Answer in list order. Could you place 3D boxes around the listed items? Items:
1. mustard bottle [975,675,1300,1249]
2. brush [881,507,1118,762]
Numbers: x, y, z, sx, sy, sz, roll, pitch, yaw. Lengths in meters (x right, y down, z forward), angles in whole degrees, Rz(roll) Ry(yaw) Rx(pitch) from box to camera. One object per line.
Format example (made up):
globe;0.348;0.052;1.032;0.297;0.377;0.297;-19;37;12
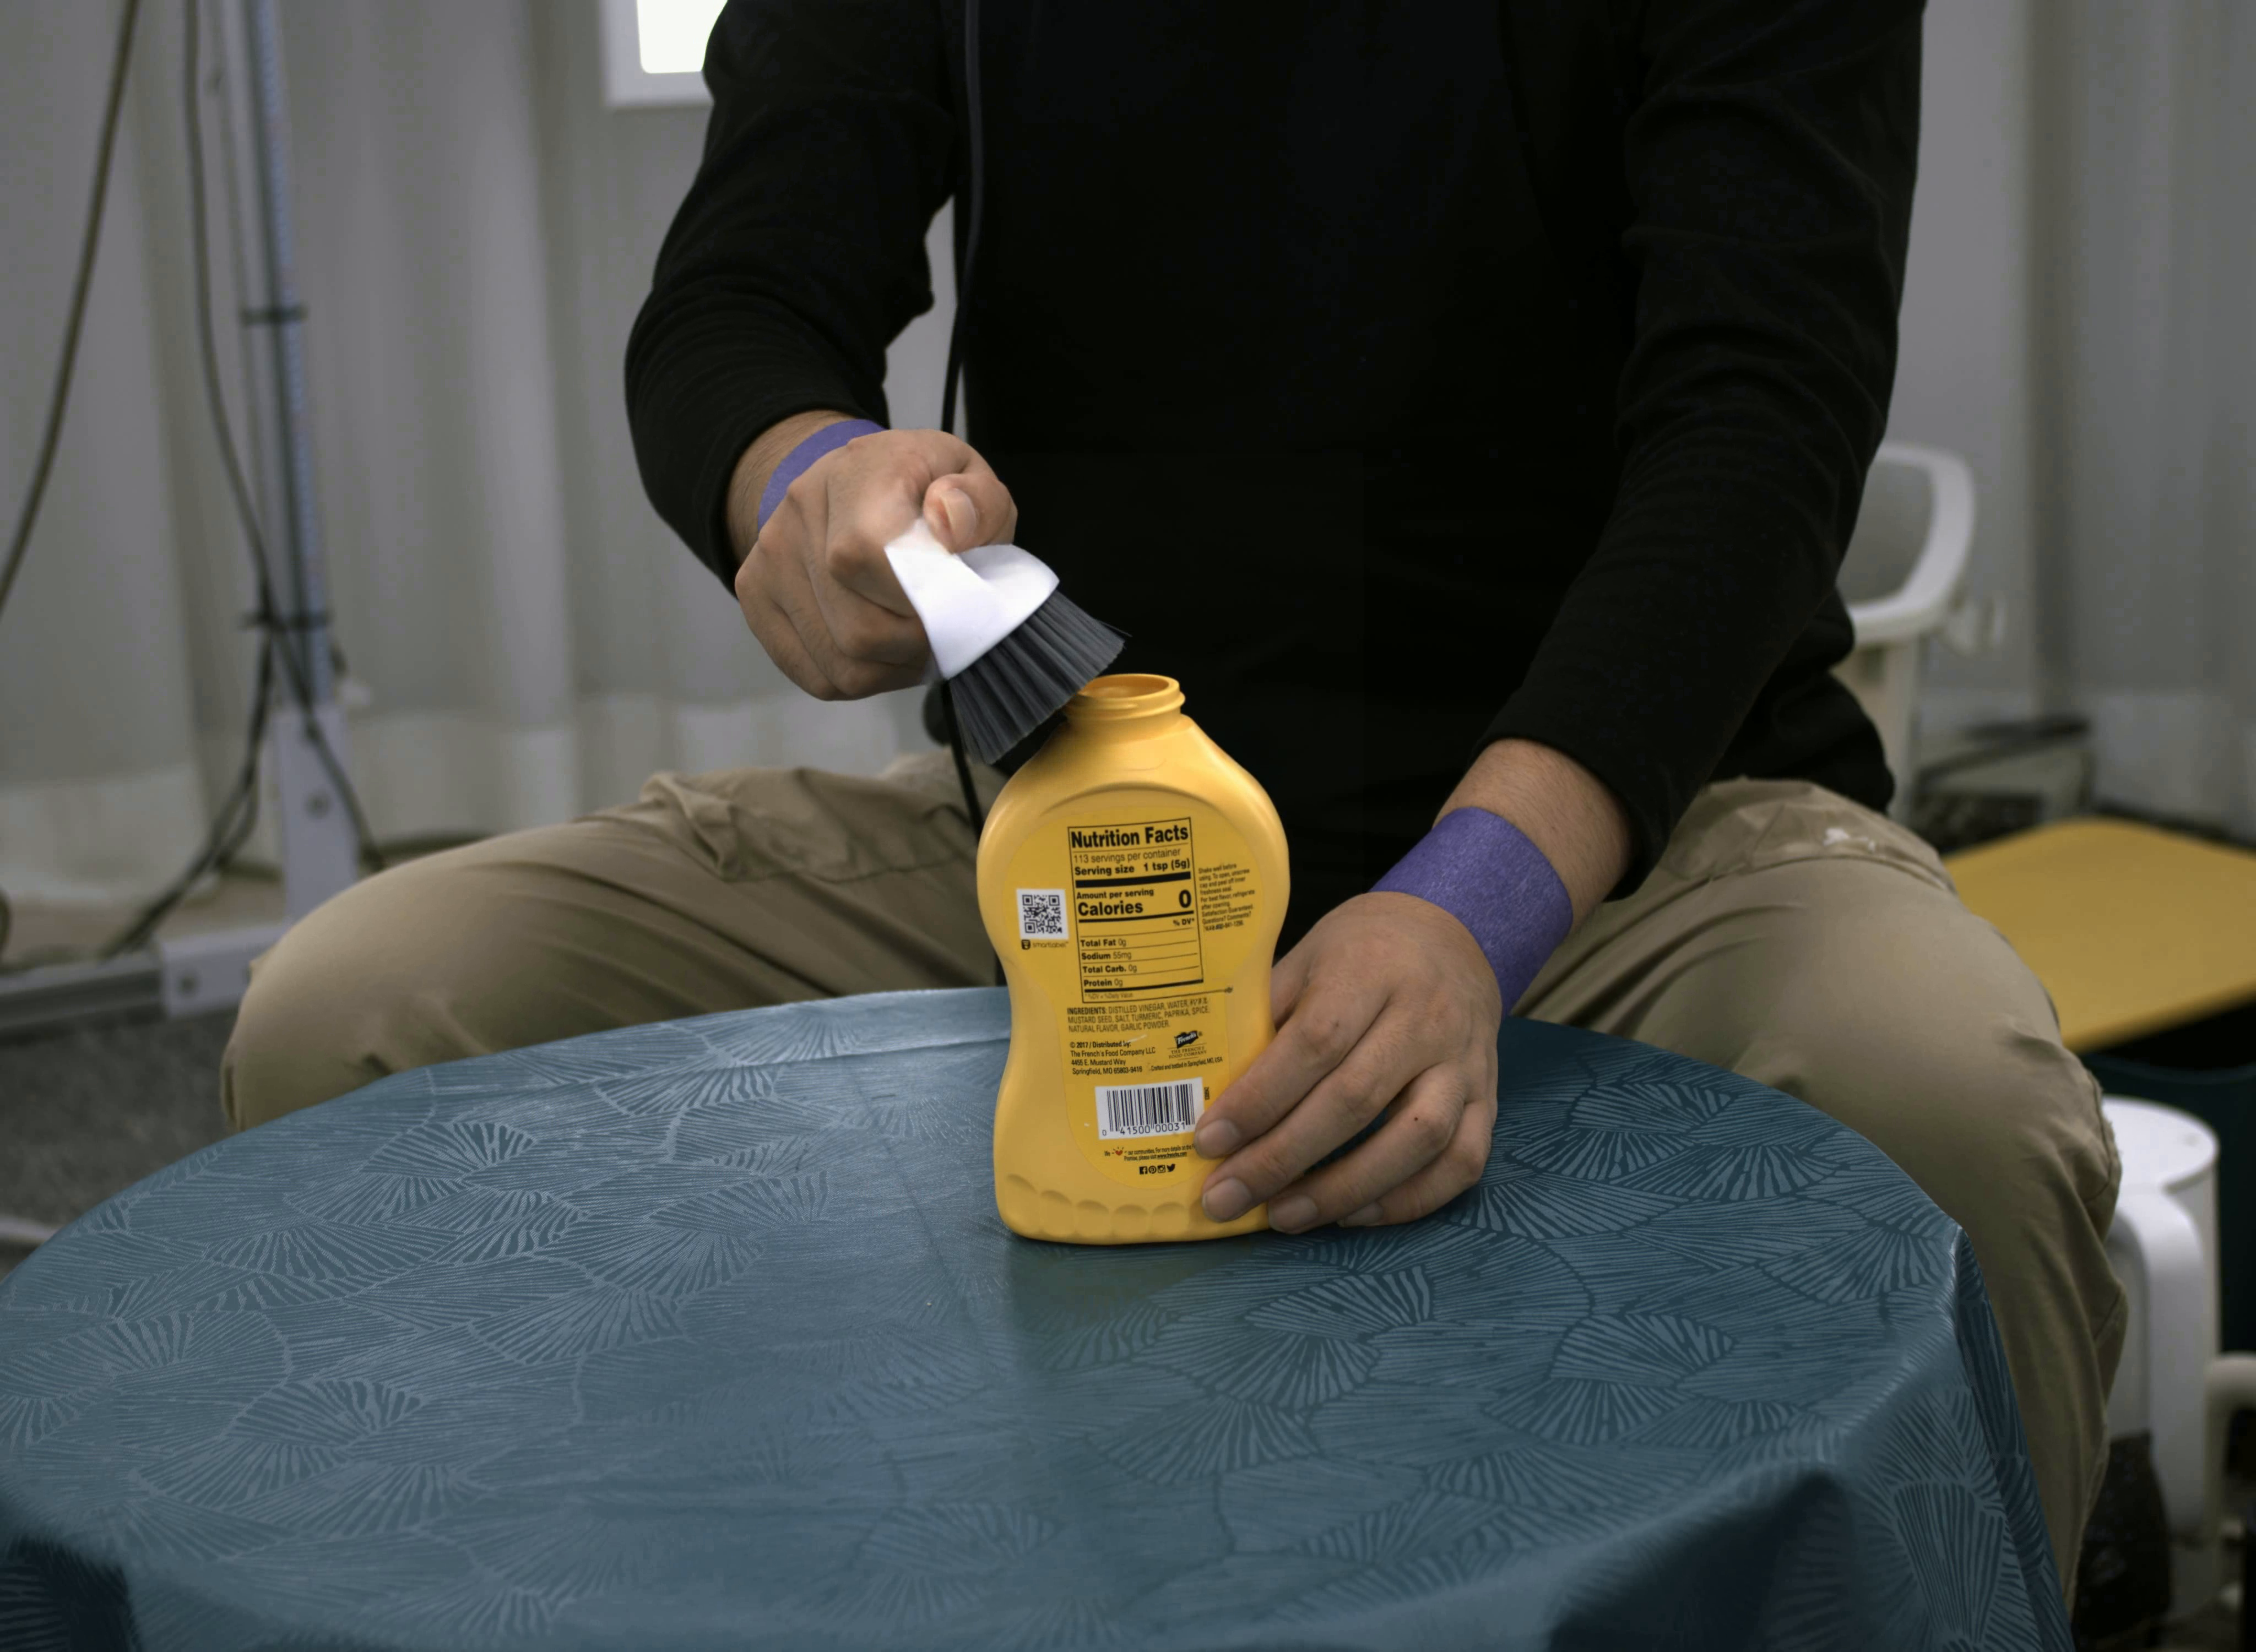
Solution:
mustard bottle;0.001;0.041;1.668;0.098;0.171;0.059;-4;11;0
brush;-0.045;-0.065;1.652;0.050;0.072;0.099;-40;3;8
